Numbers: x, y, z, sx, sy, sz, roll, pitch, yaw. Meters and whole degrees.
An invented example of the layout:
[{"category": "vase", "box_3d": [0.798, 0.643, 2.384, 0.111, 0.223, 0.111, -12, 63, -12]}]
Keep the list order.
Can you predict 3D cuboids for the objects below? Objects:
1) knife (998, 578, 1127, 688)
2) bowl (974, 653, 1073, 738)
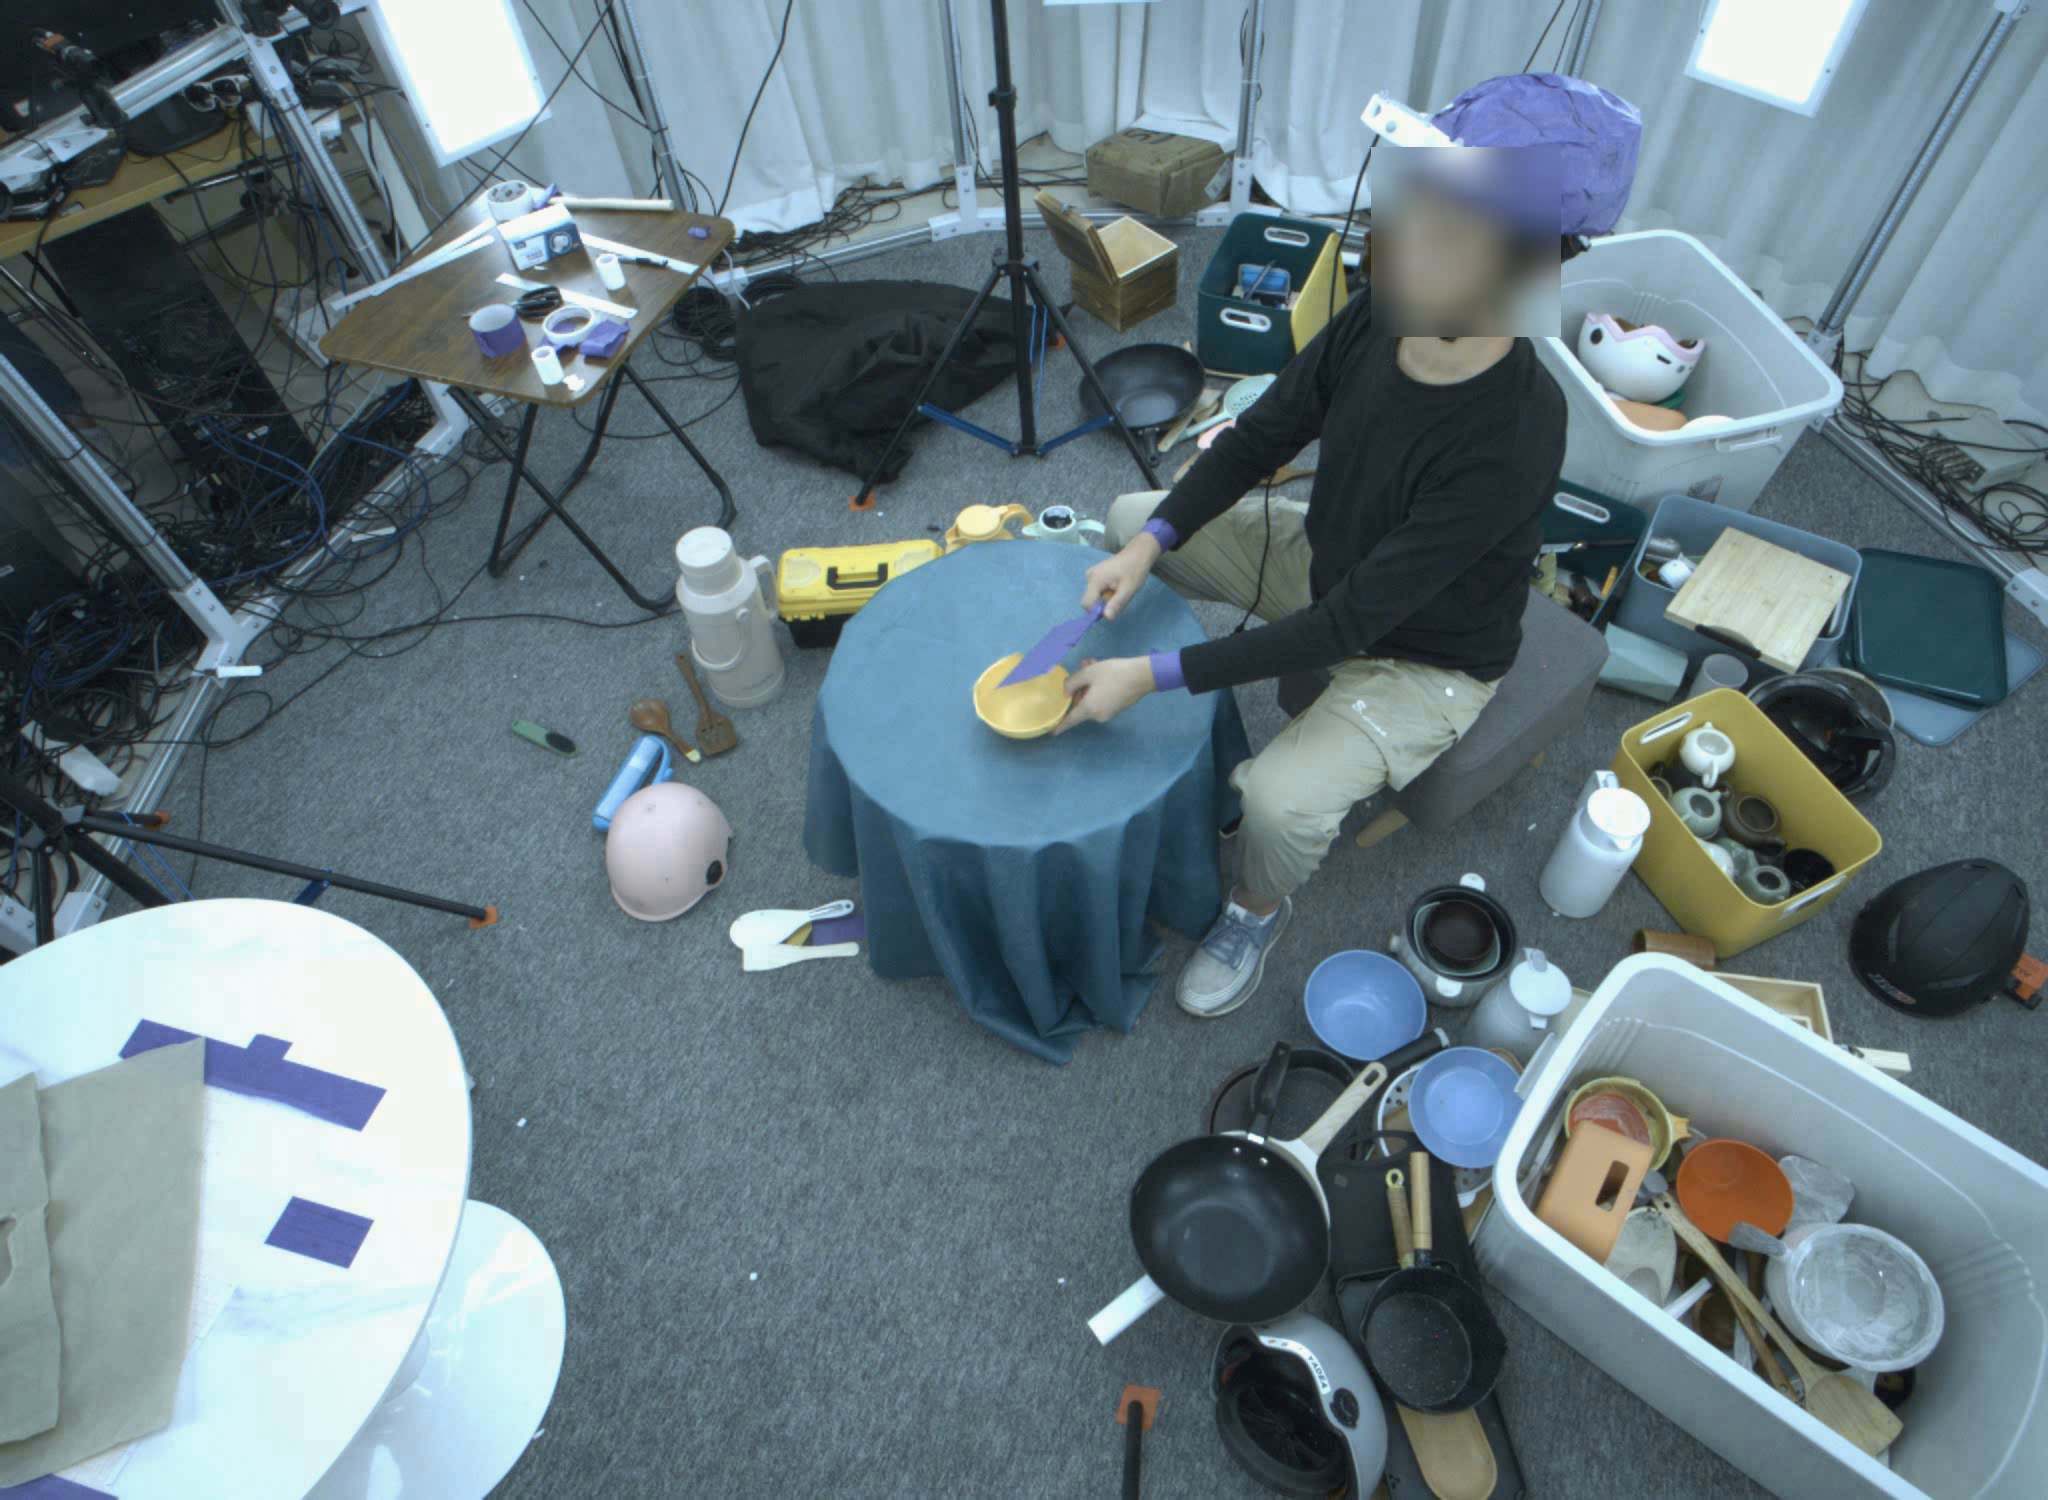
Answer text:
[{"category": "knife", "box_3d": [0.055, -0.174, 1.790, 0.102, 0.032, 0.317, -13, 21, 34]}, {"category": "bowl", "box_3d": [0.002, -0.068, 1.792, 0.145, 0.061, 0.144, -2, 55, 4]}]
